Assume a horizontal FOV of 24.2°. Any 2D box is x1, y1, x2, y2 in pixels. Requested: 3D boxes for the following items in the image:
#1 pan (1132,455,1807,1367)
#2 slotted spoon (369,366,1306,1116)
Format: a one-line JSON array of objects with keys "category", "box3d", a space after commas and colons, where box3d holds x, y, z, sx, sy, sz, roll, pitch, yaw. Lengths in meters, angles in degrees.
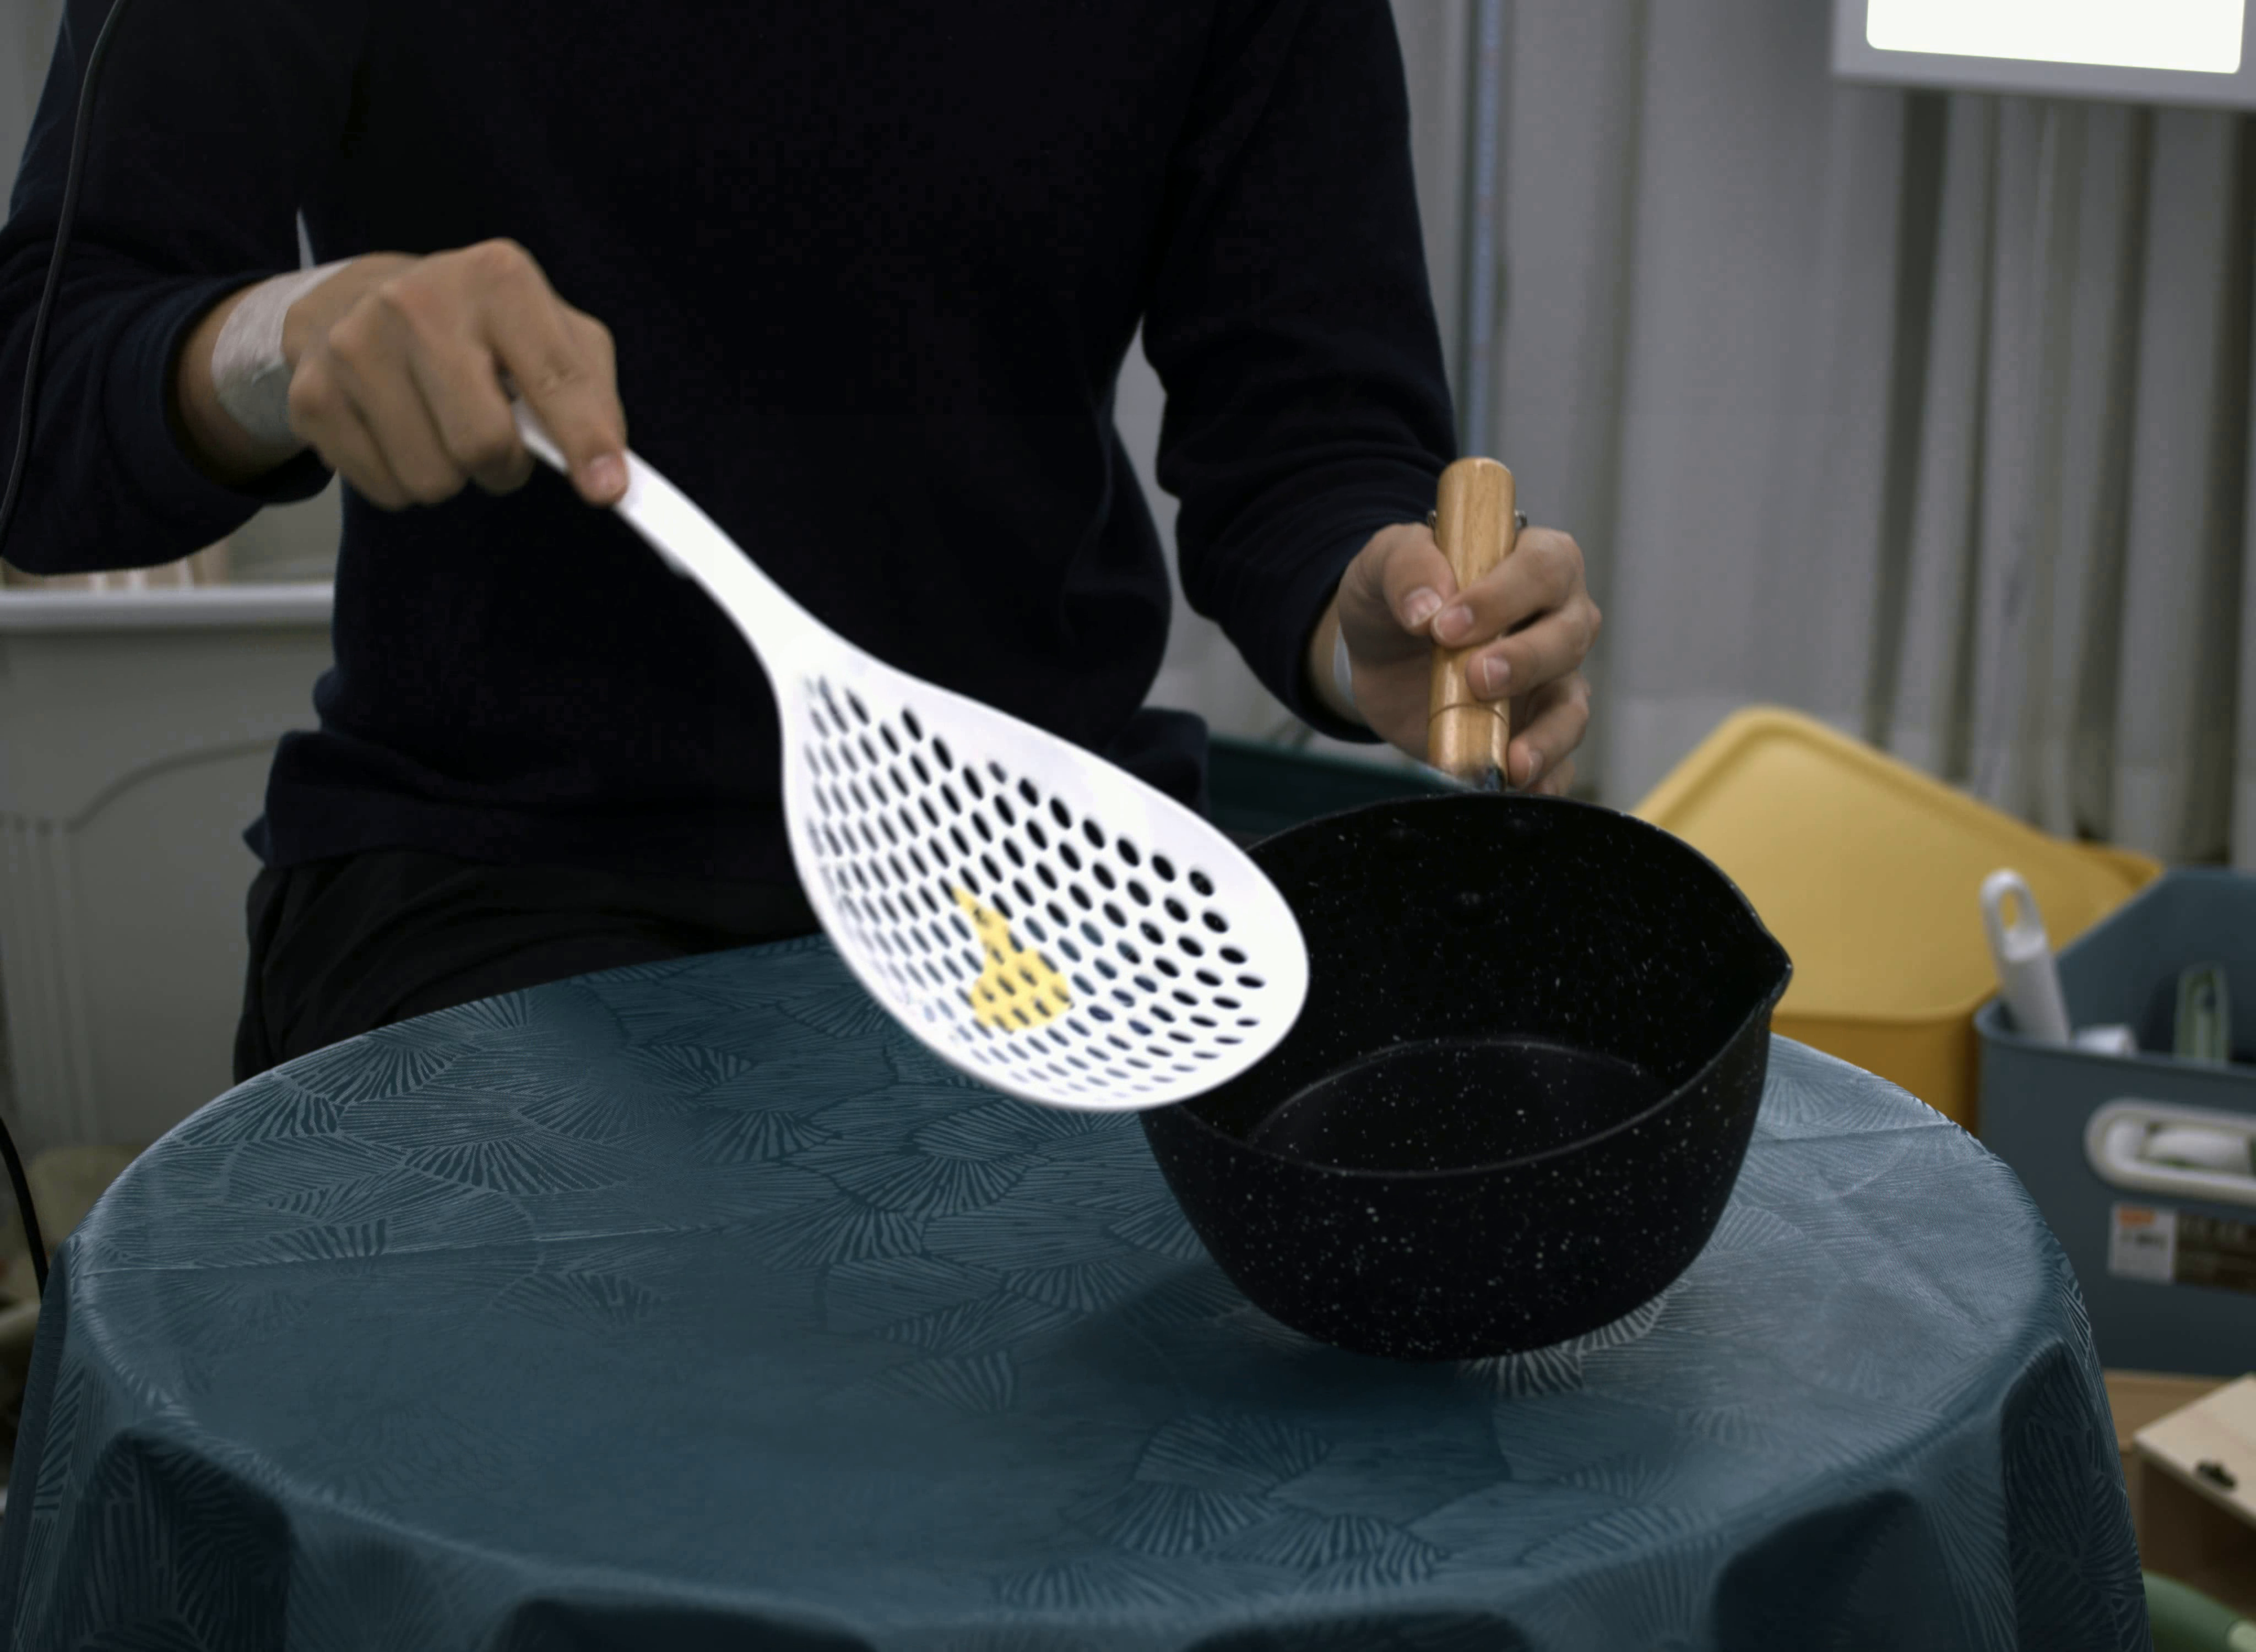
[{"category": "pan", "box3d": [0.099, 0.021, 1.578, 0.206, 0.109, 0.340, -4, 35, 8]}, {"category": "slotted spoon", "box3d": [-0.095, -0.035, 1.477, 0.137, 0.050, 0.345, -27, 64, -39]}]
